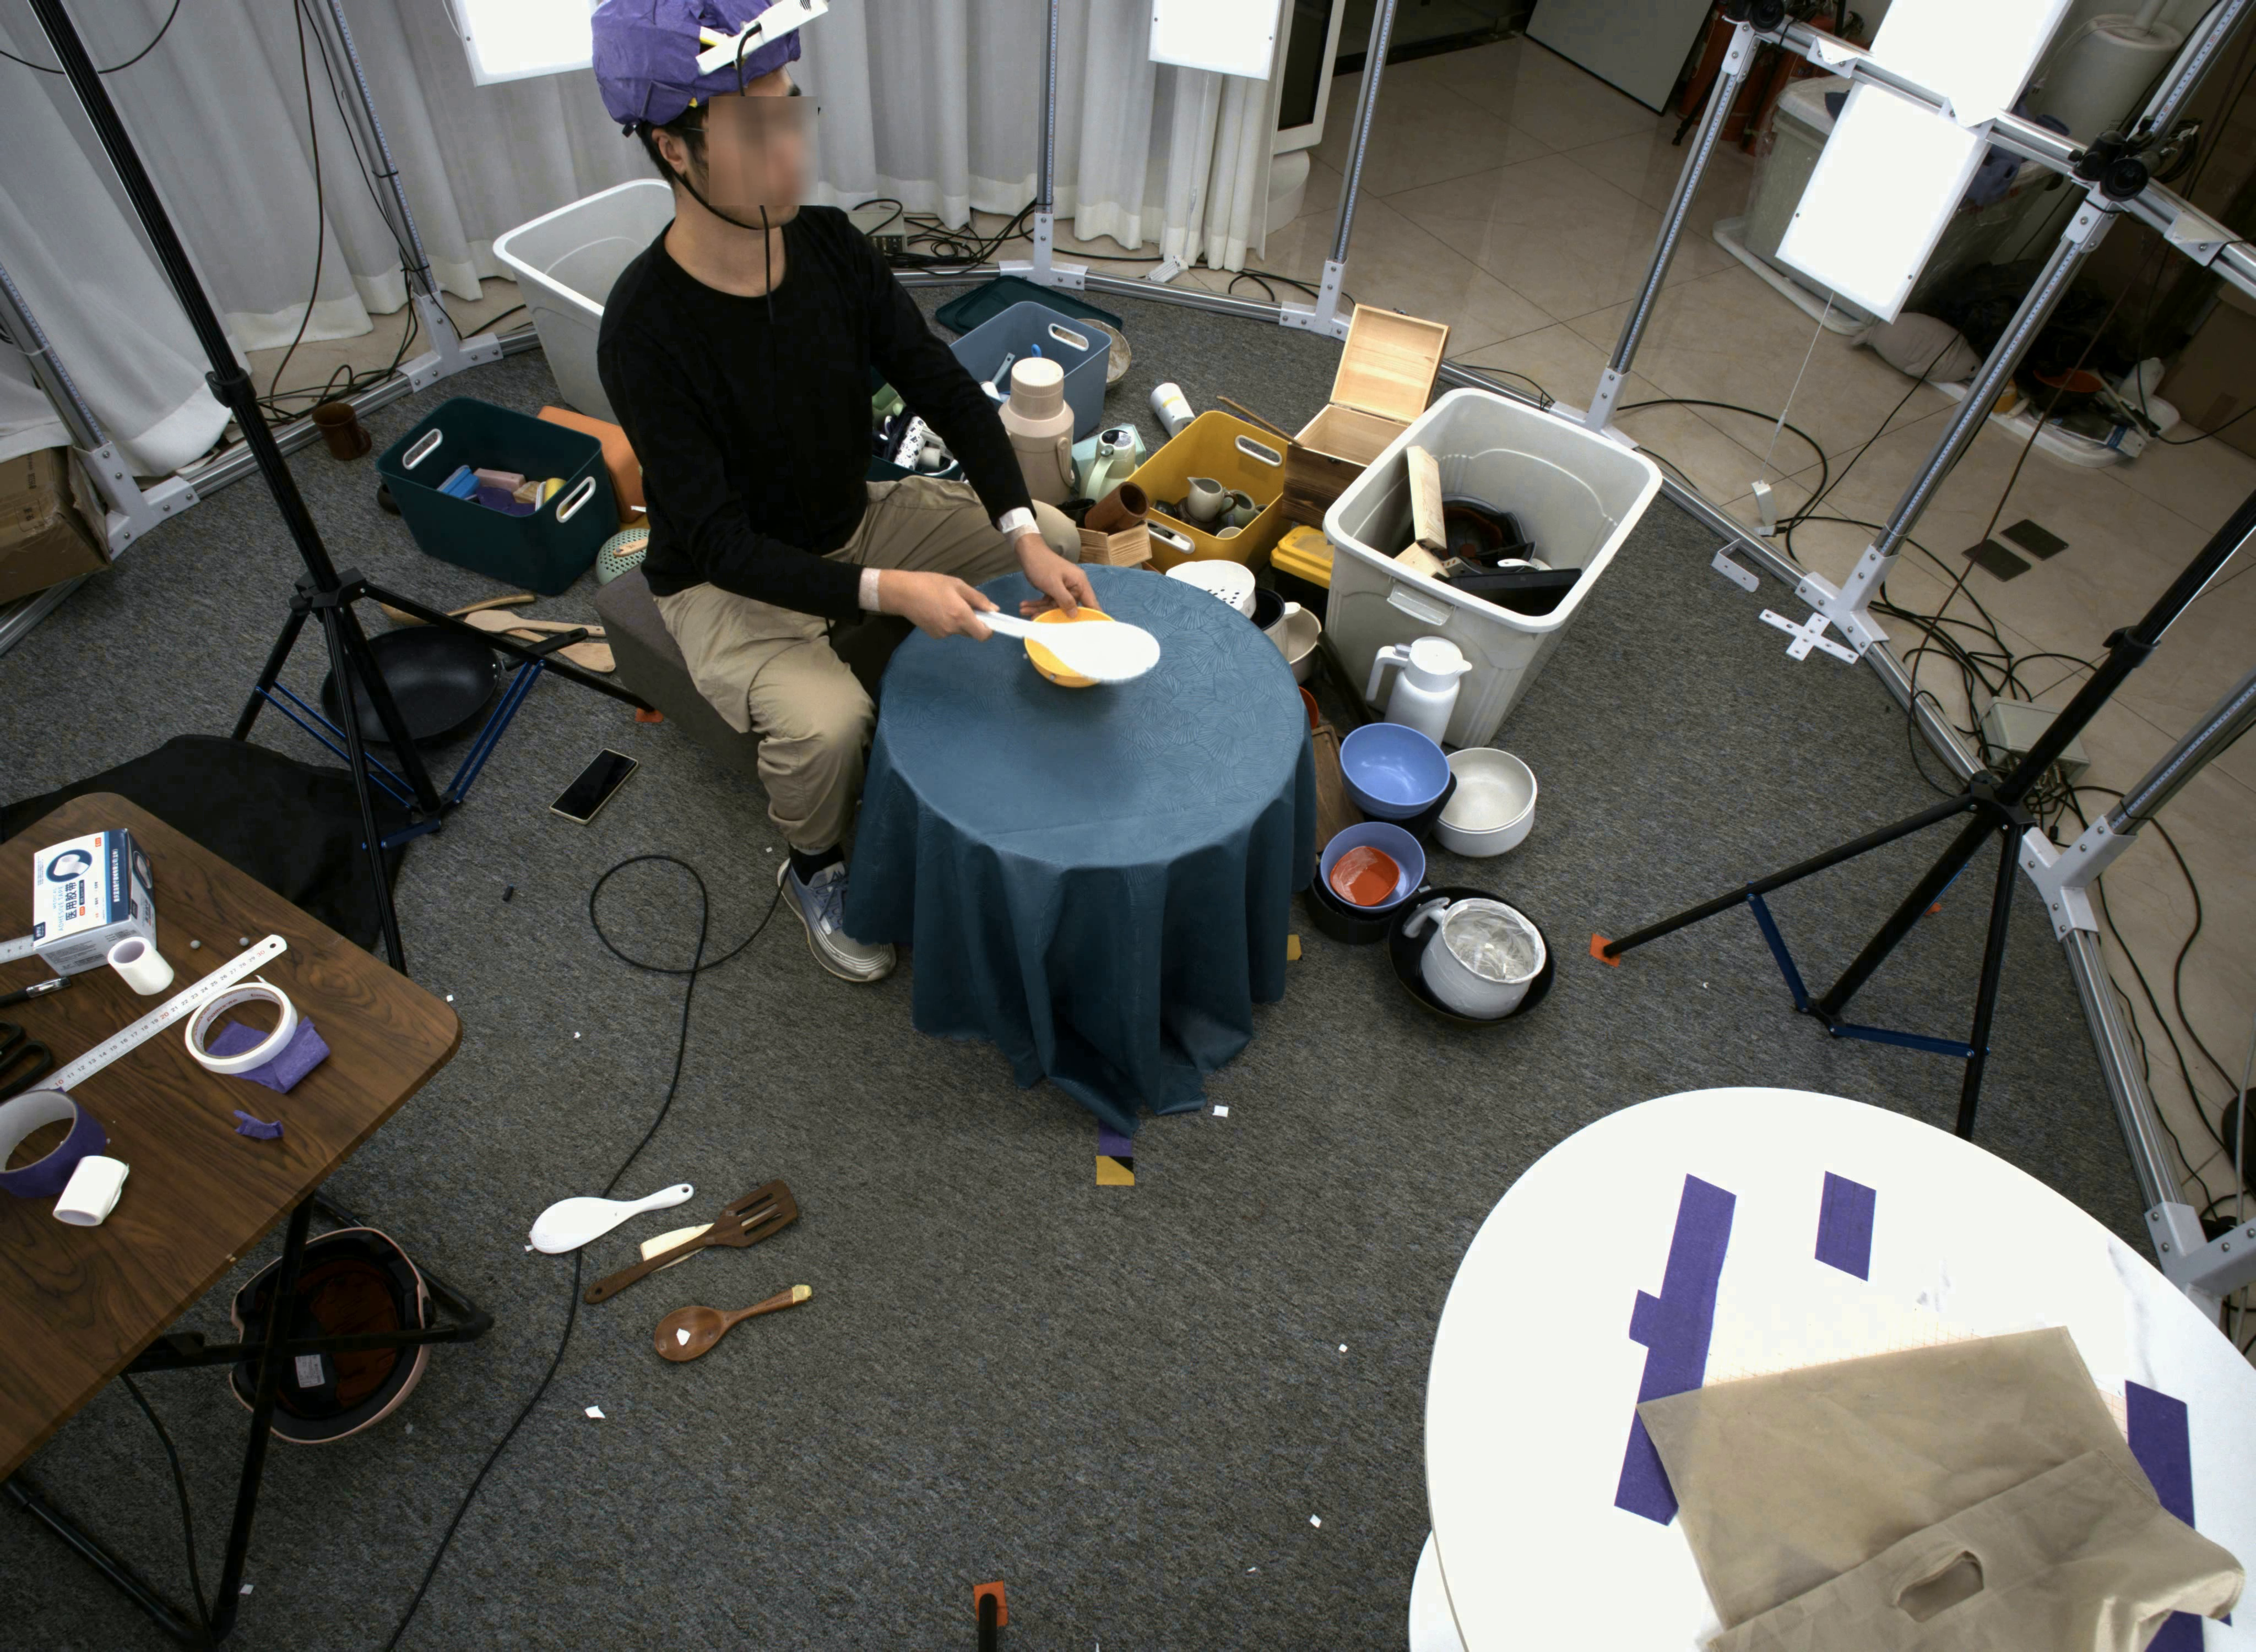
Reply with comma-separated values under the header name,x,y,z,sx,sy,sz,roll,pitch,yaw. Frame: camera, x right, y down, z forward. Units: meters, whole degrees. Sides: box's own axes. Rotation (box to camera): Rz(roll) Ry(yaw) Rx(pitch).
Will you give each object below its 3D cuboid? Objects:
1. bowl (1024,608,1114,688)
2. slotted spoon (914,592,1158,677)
name,x,y,z,sx,sy,sz,roll,pitch,yaw
bowl,-0.078,-0.243,1.842,0.145,0.058,0.149,3,48,-4
slotted spoon,-0.128,-0.266,1.732,0.351,0.045,0.138,20,38,13
